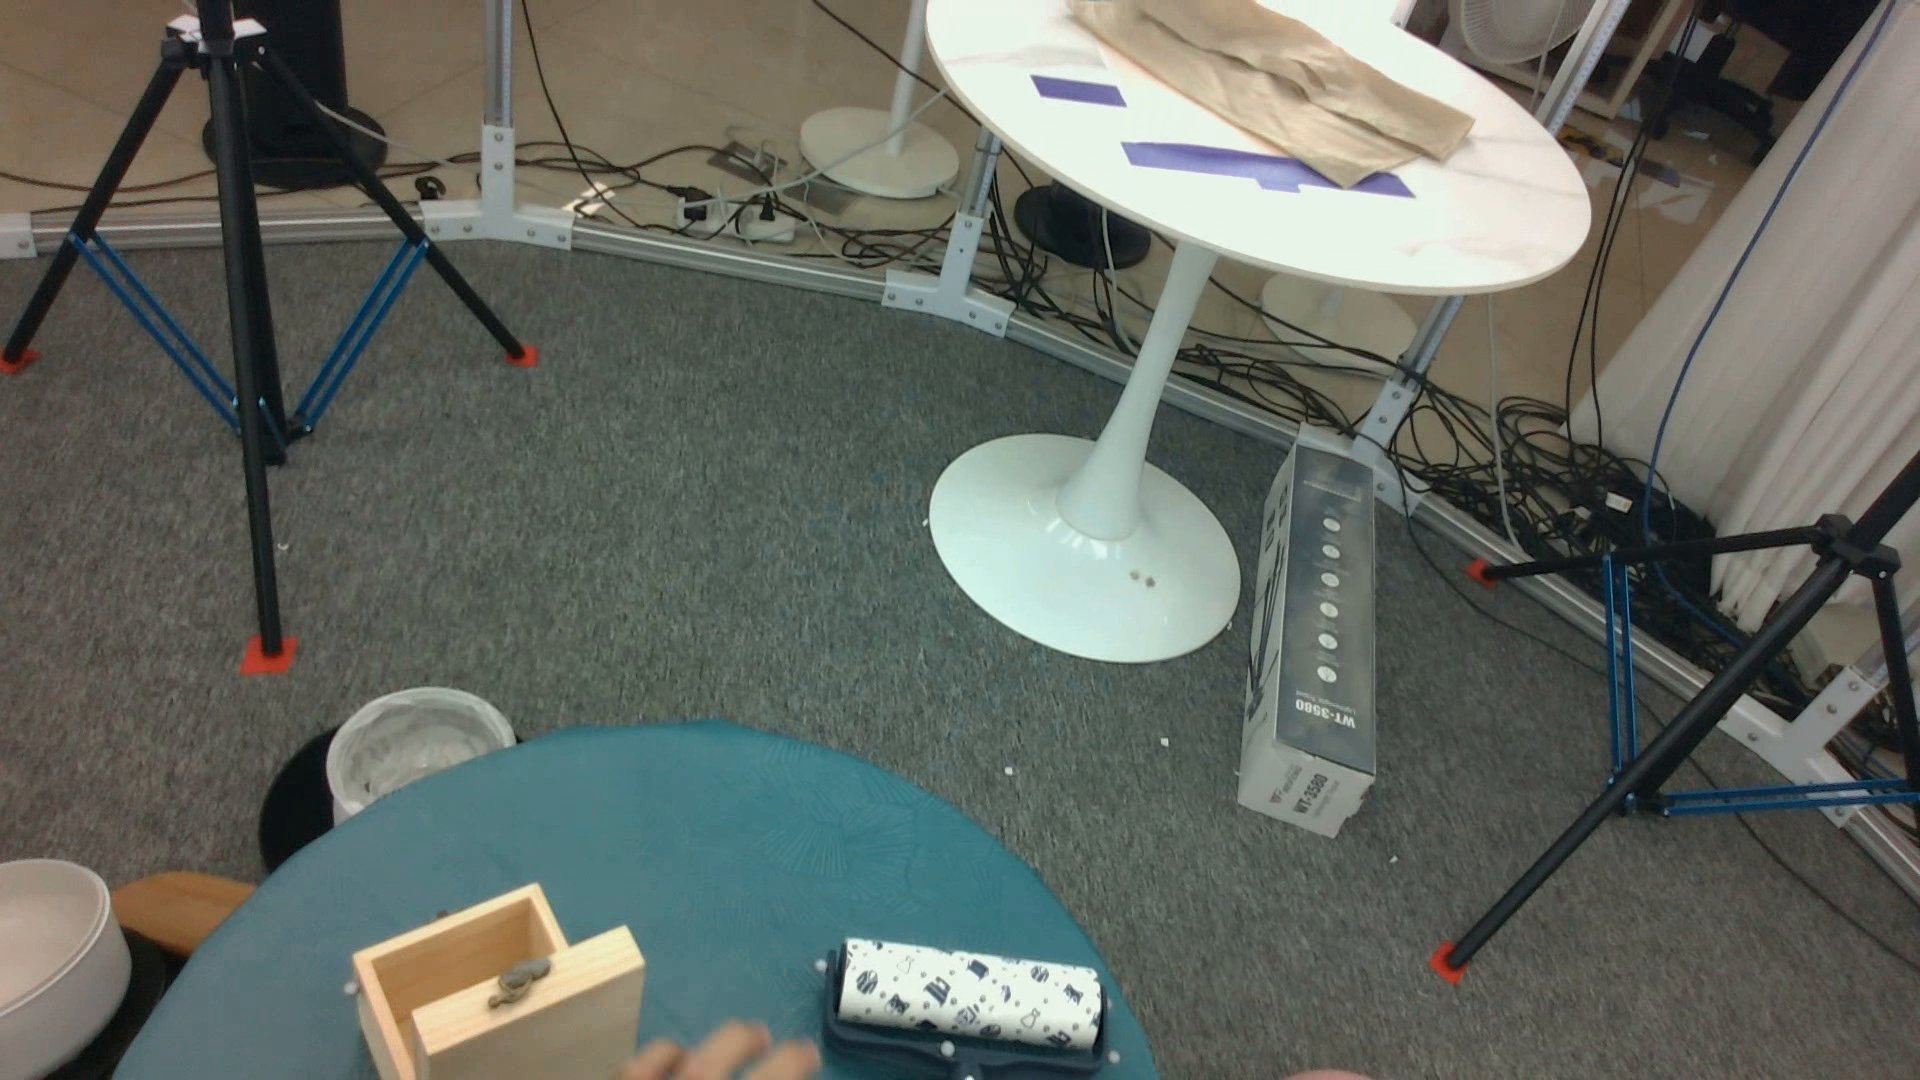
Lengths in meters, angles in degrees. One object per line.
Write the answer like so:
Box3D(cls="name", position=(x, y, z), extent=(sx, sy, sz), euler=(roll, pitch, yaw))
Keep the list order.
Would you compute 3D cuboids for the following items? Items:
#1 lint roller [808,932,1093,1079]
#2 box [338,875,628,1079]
Box3D(cls="lint roller", position=(-0.003, 0.345, 0.779), extent=(0.176, 0.050, 0.248), euler=(10, 42, -10))
Box3D(cls="box", position=(-0.250, 0.230, 0.710), extent=(0.103, 0.183, 0.134), euler=(-18, 53, -33))
